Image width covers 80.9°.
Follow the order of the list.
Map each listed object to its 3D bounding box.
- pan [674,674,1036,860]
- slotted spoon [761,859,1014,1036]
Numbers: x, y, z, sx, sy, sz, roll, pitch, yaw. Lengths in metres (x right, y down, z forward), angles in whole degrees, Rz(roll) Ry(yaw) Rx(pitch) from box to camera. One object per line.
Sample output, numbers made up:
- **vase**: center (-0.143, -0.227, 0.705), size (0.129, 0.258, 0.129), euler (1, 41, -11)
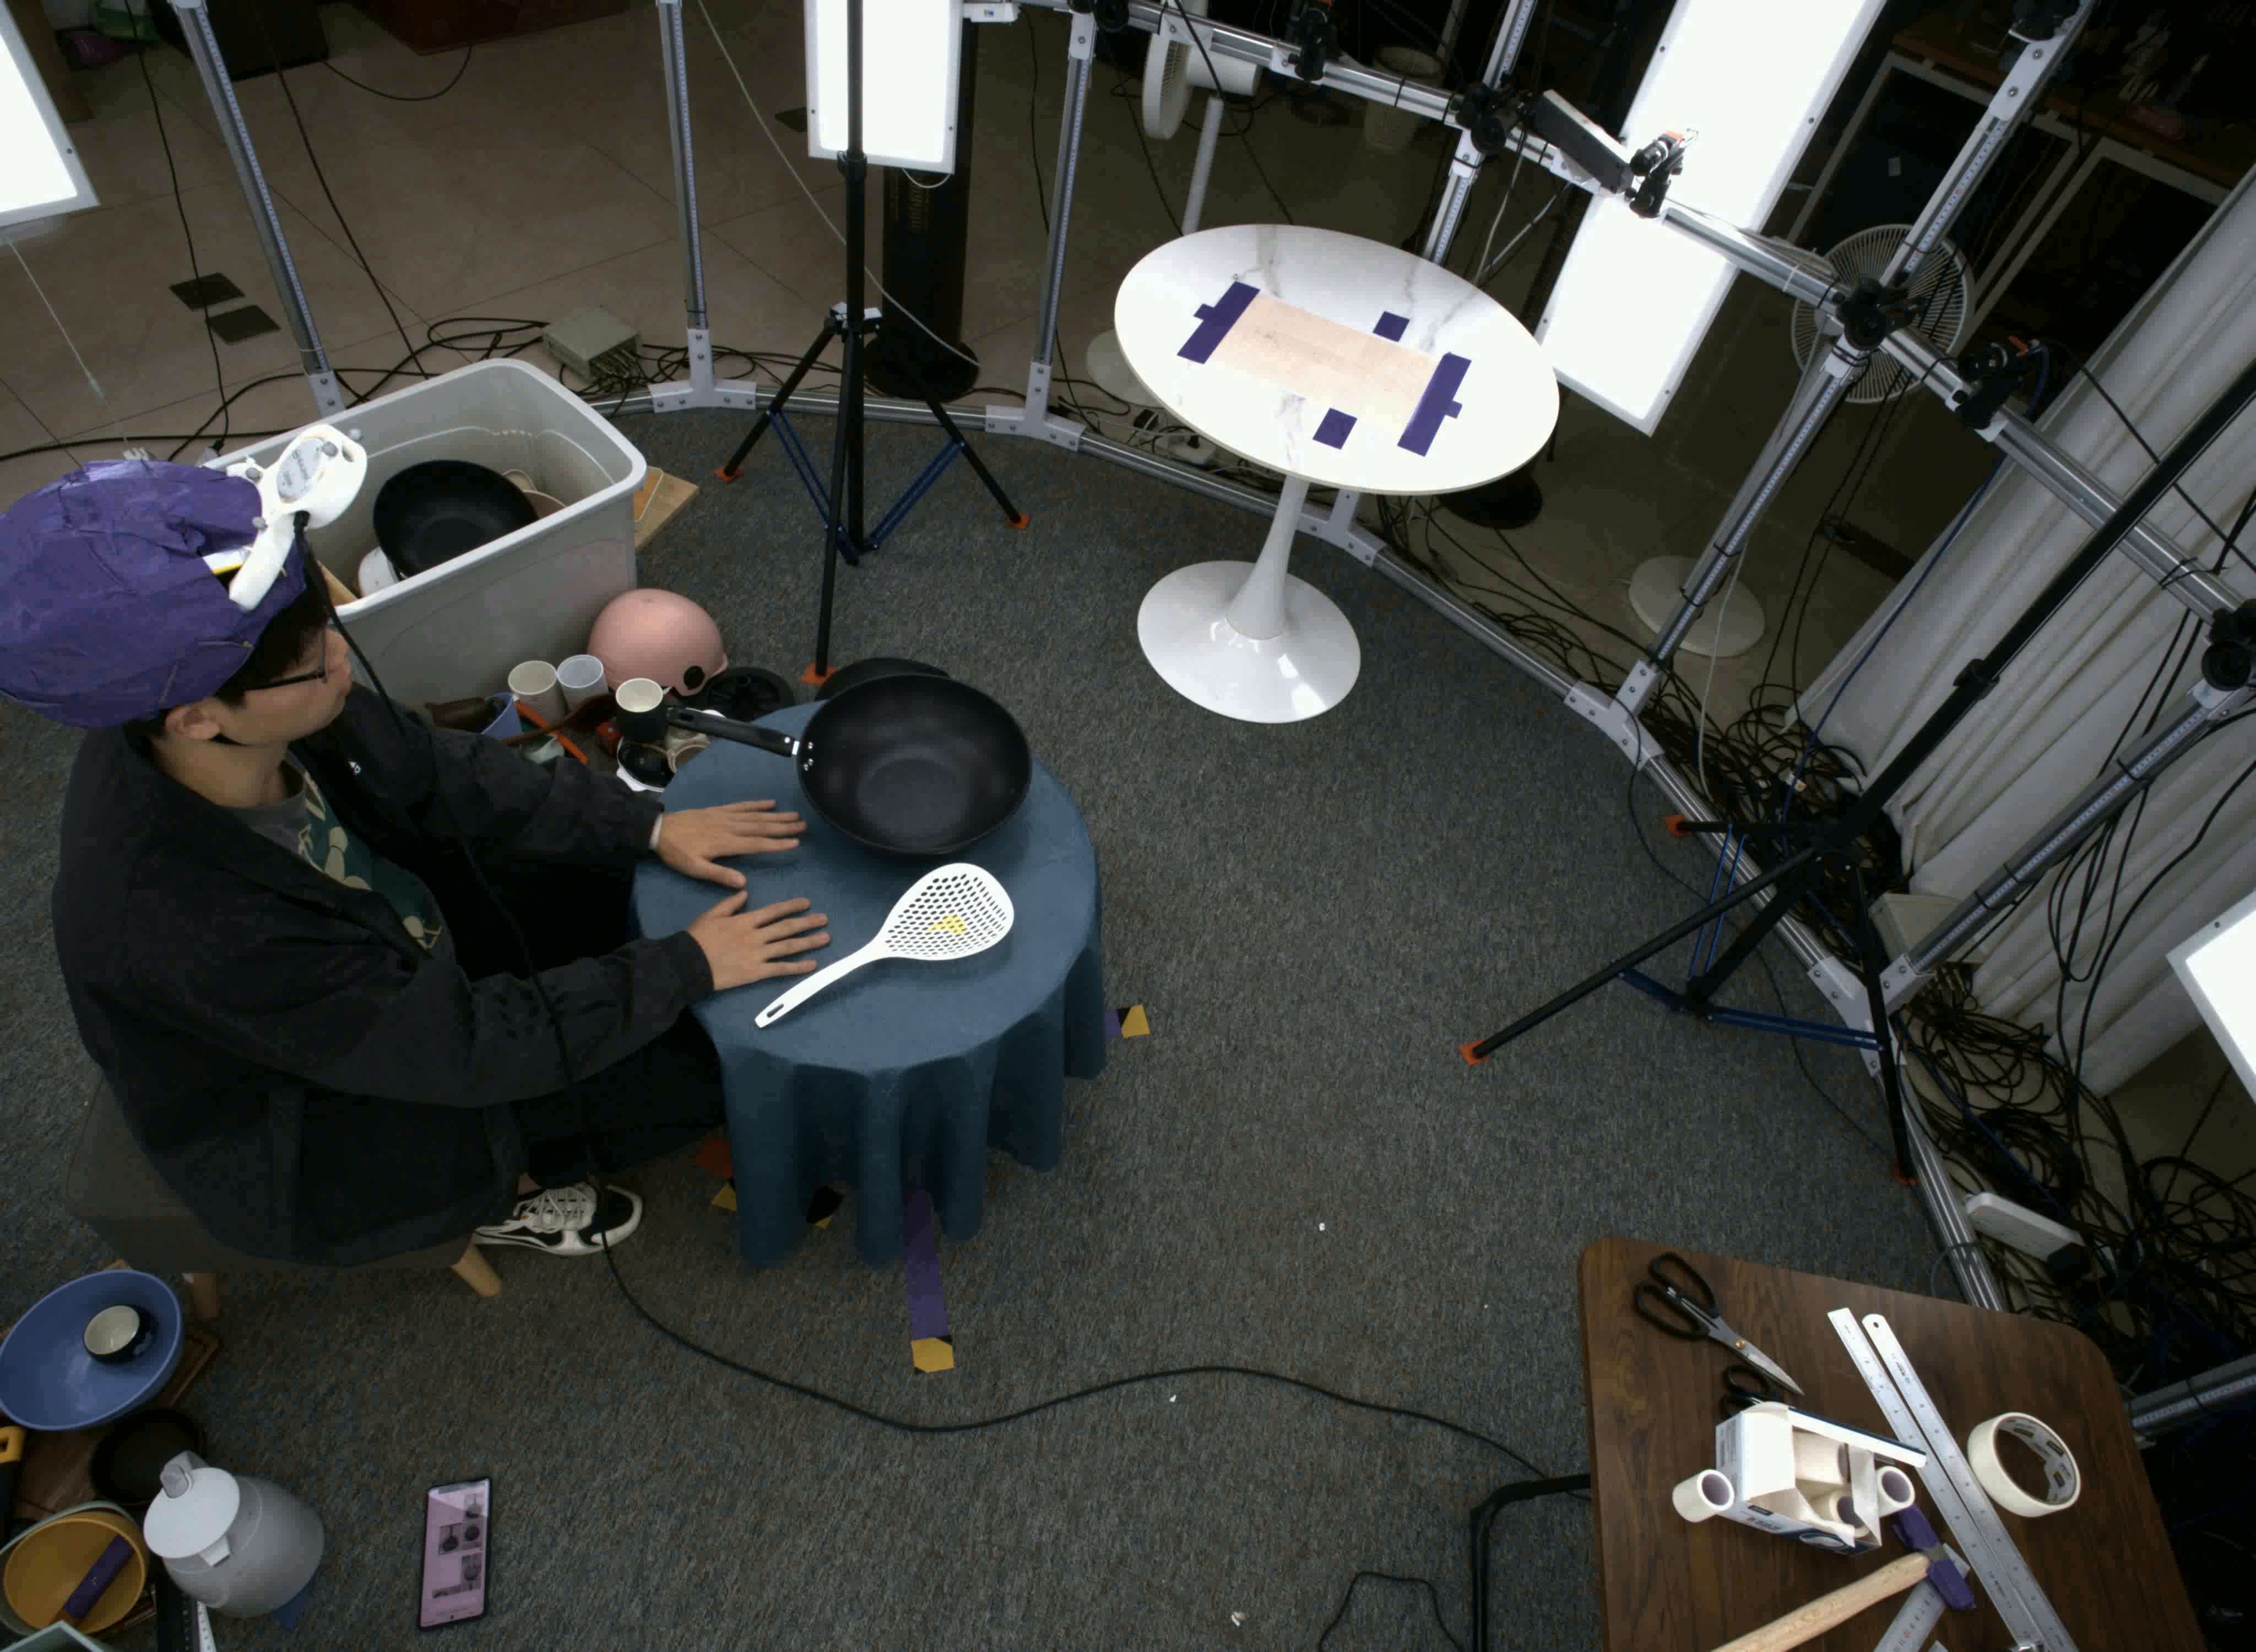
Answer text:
- **pan**: center (-0.361, -0.082, 1.734), size (0.476, 0.114, 0.304), euler (7, 51, -9)
- **slotted spoon**: center (-0.302, 0.155, 1.614), size (0.349, 0.051, 0.134), euler (-27, 66, -29)
